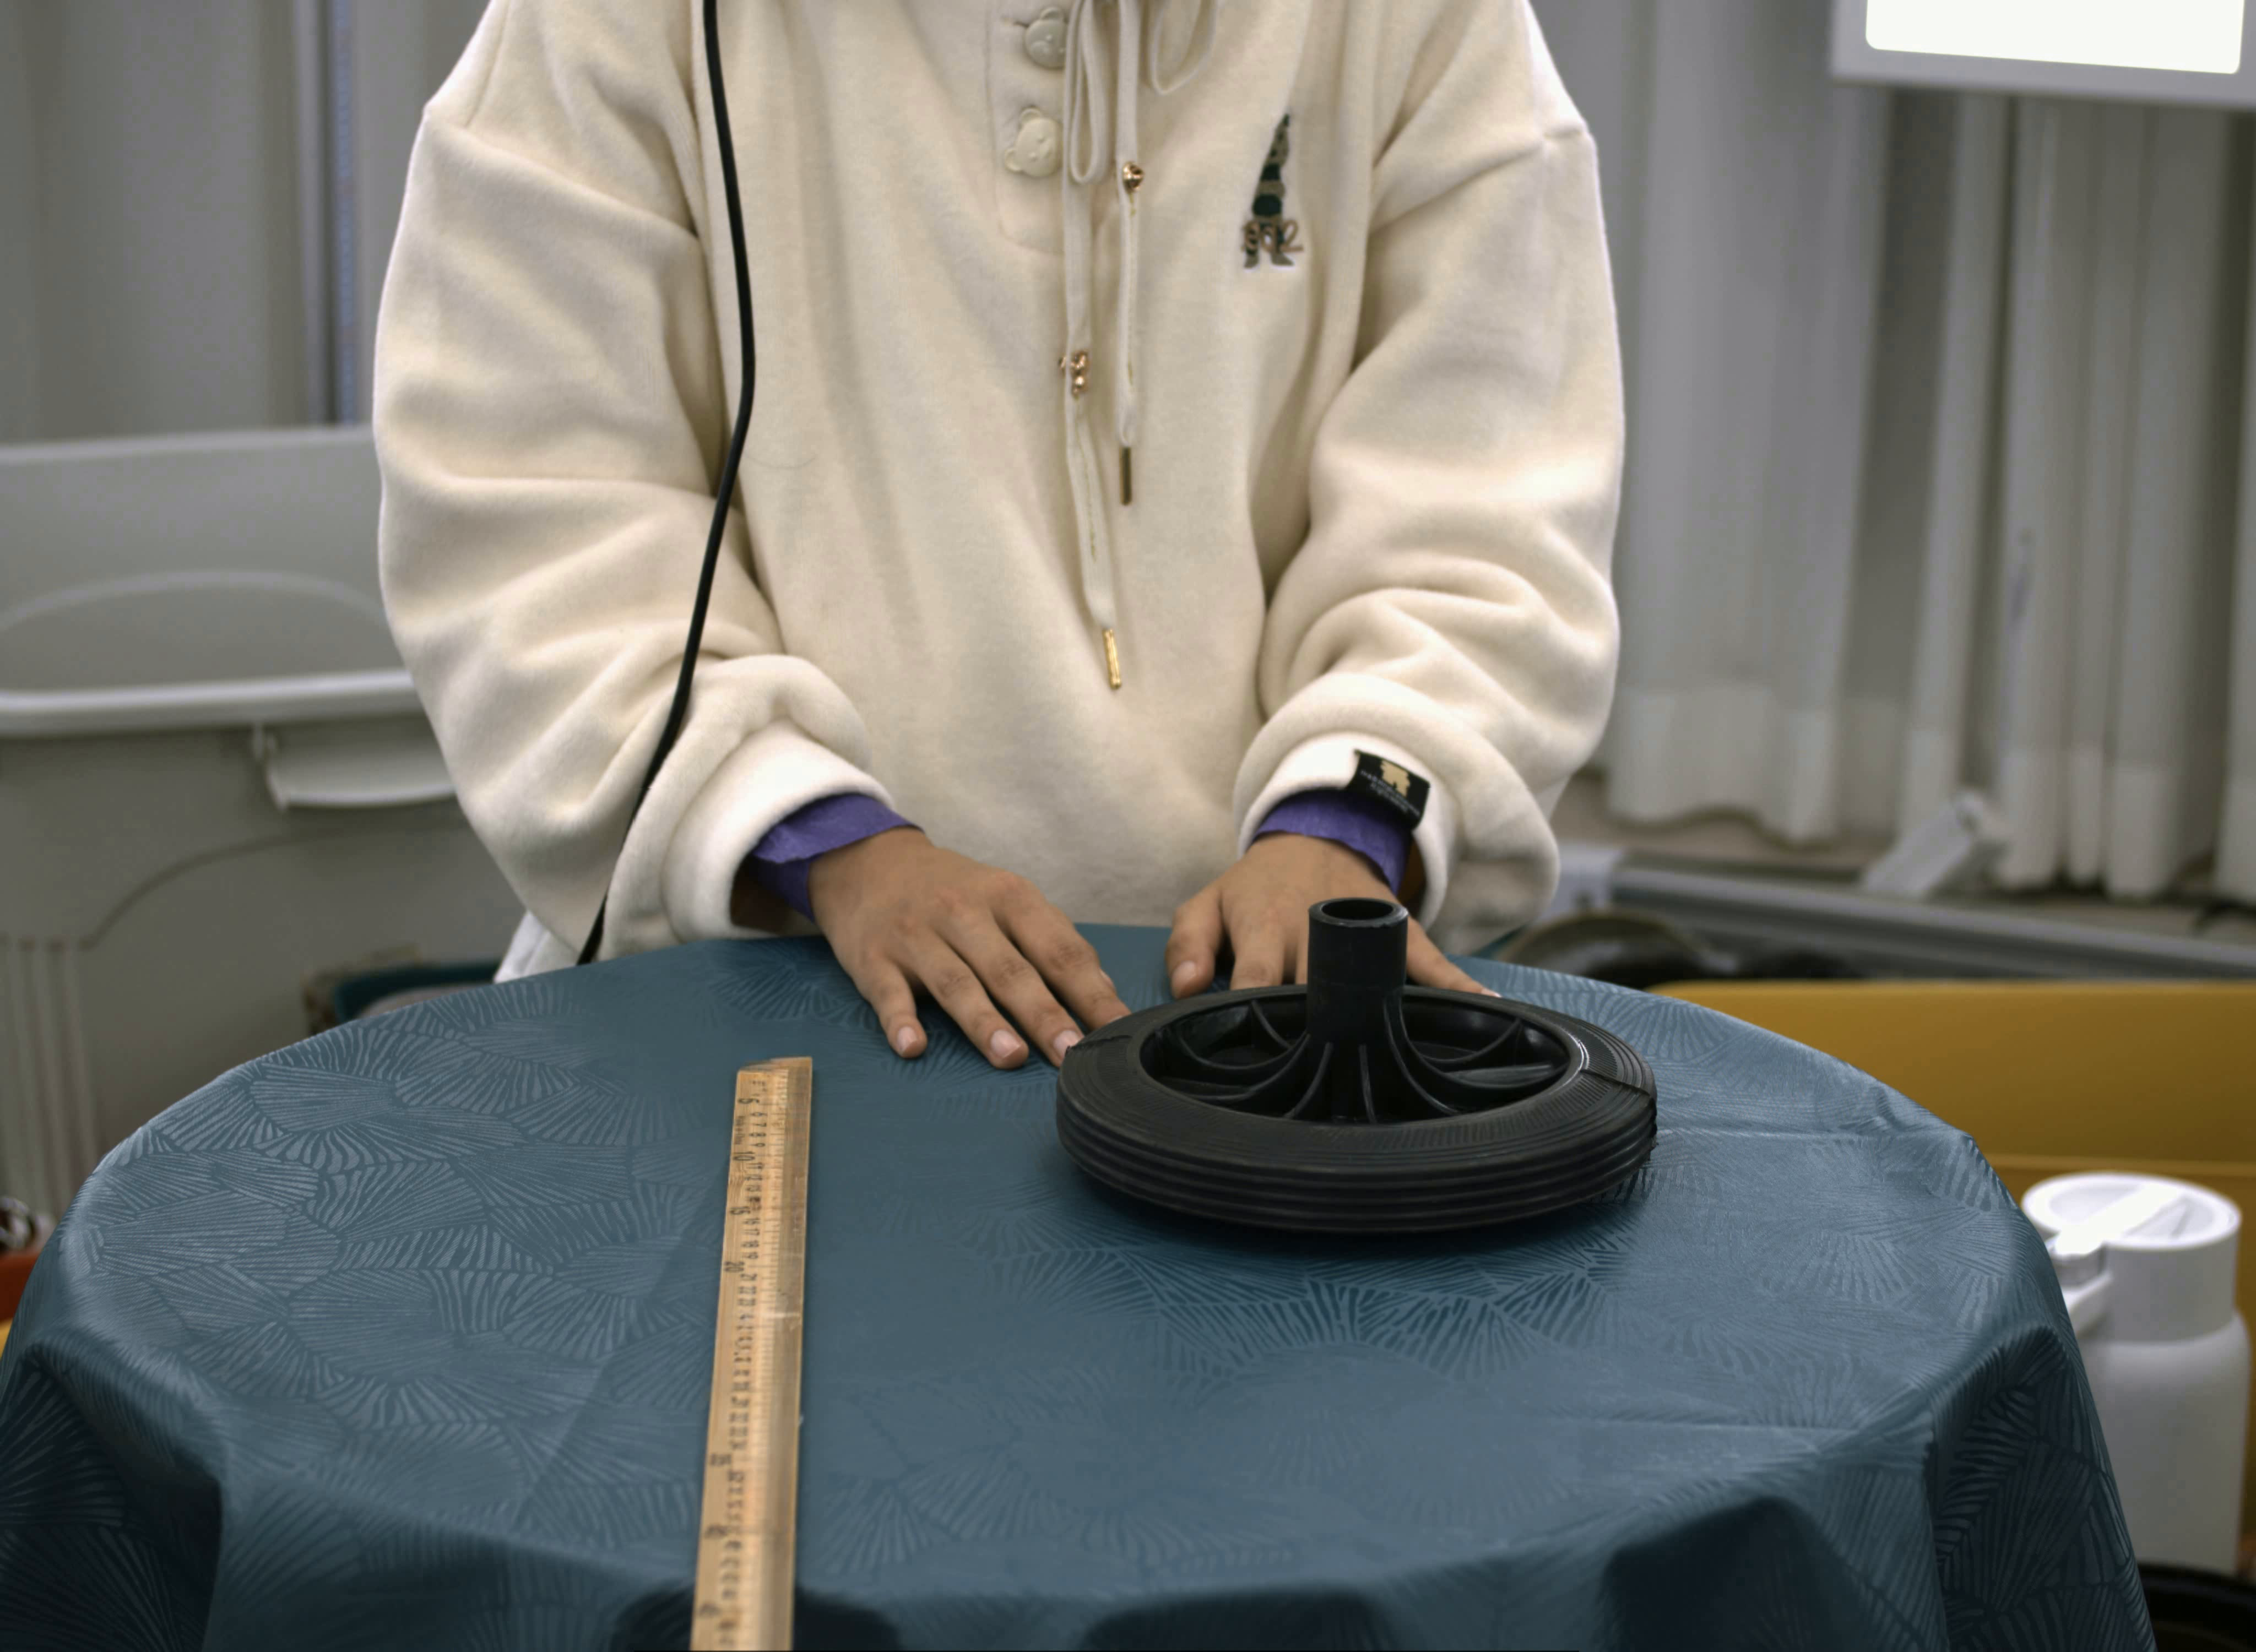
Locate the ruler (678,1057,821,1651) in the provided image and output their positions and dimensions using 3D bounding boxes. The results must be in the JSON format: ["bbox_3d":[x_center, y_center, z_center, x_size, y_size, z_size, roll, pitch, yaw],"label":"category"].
[{"bbox_3d":[-0.105,0.144,1.494,0.027,0.006,0.497,-1,15,-2],"label":"ruler"}]

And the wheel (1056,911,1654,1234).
[{"bbox_3d":[0.072,0.068,1.639,0.191,0.080,0.185,-11,19,-39],"label":"wheel"}]
